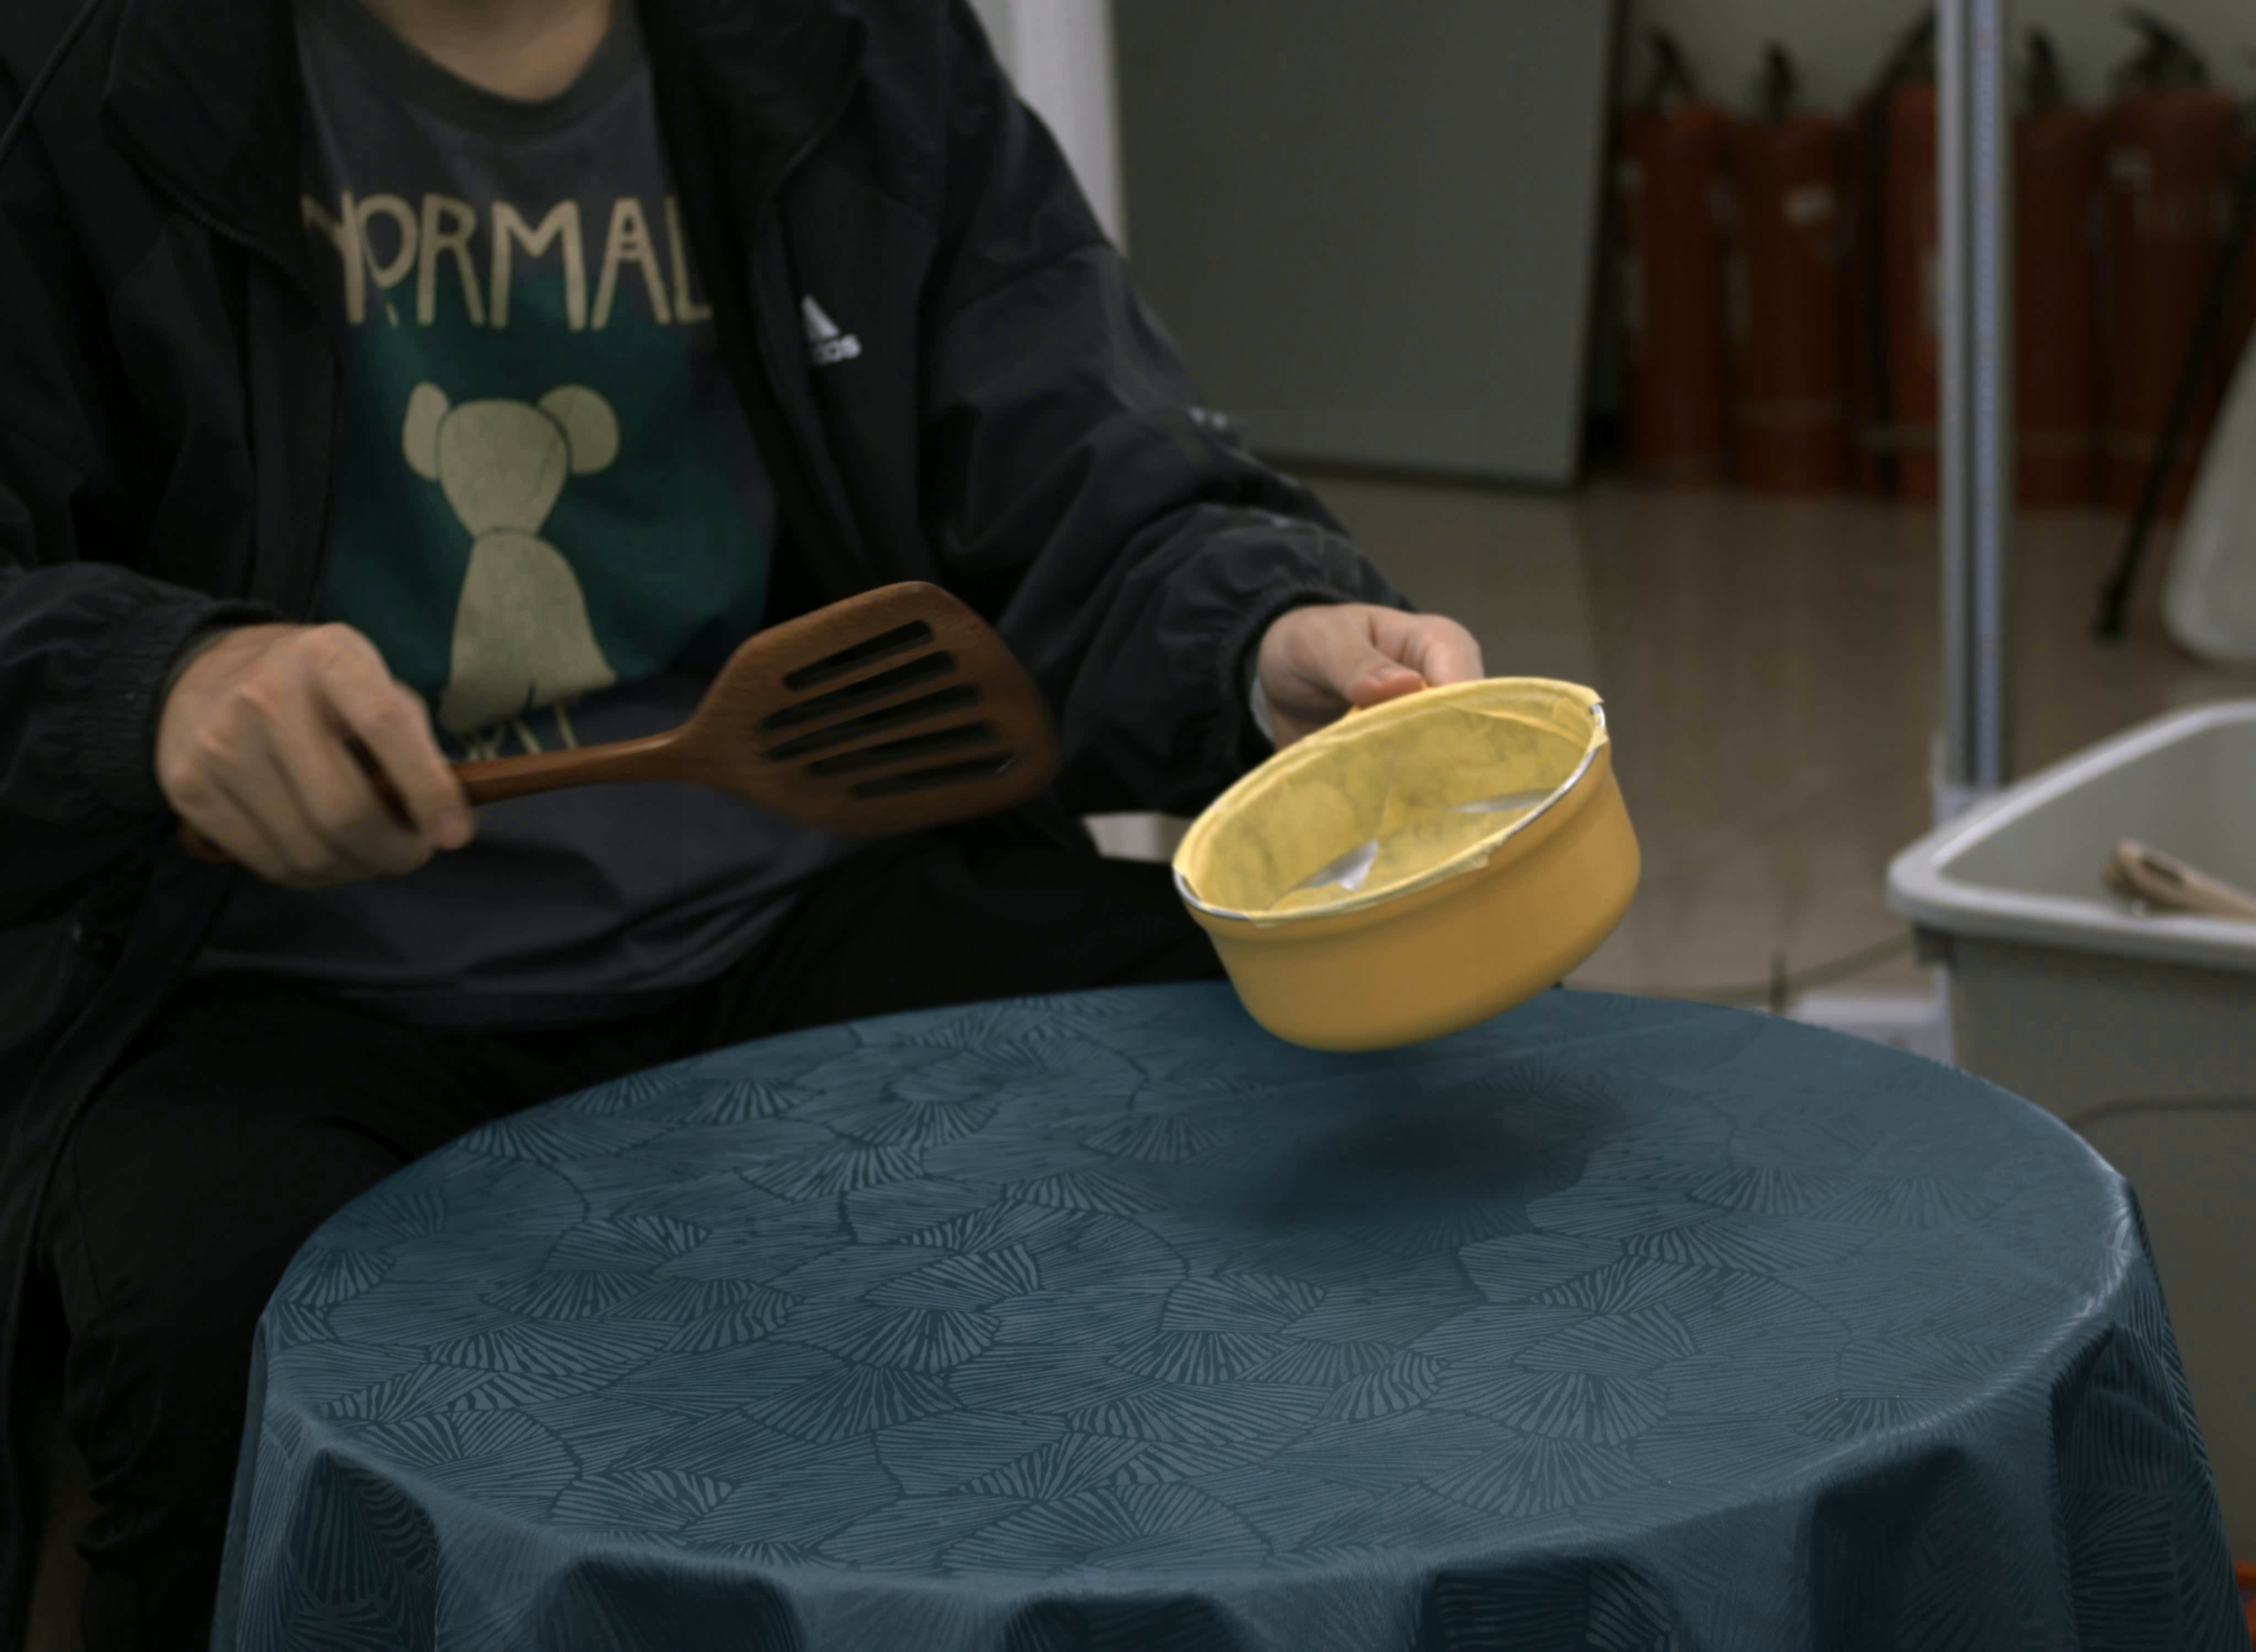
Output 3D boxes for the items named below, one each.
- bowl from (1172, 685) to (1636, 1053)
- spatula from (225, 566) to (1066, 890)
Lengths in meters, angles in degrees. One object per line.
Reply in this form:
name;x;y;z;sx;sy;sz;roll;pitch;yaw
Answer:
bowl;0.097;0.011;1.791;0.152;0.074;0.180;-22;21;7
spatula;-0.175;-0.016;1.766;0.390;0.085;0.024;-12;36;44
